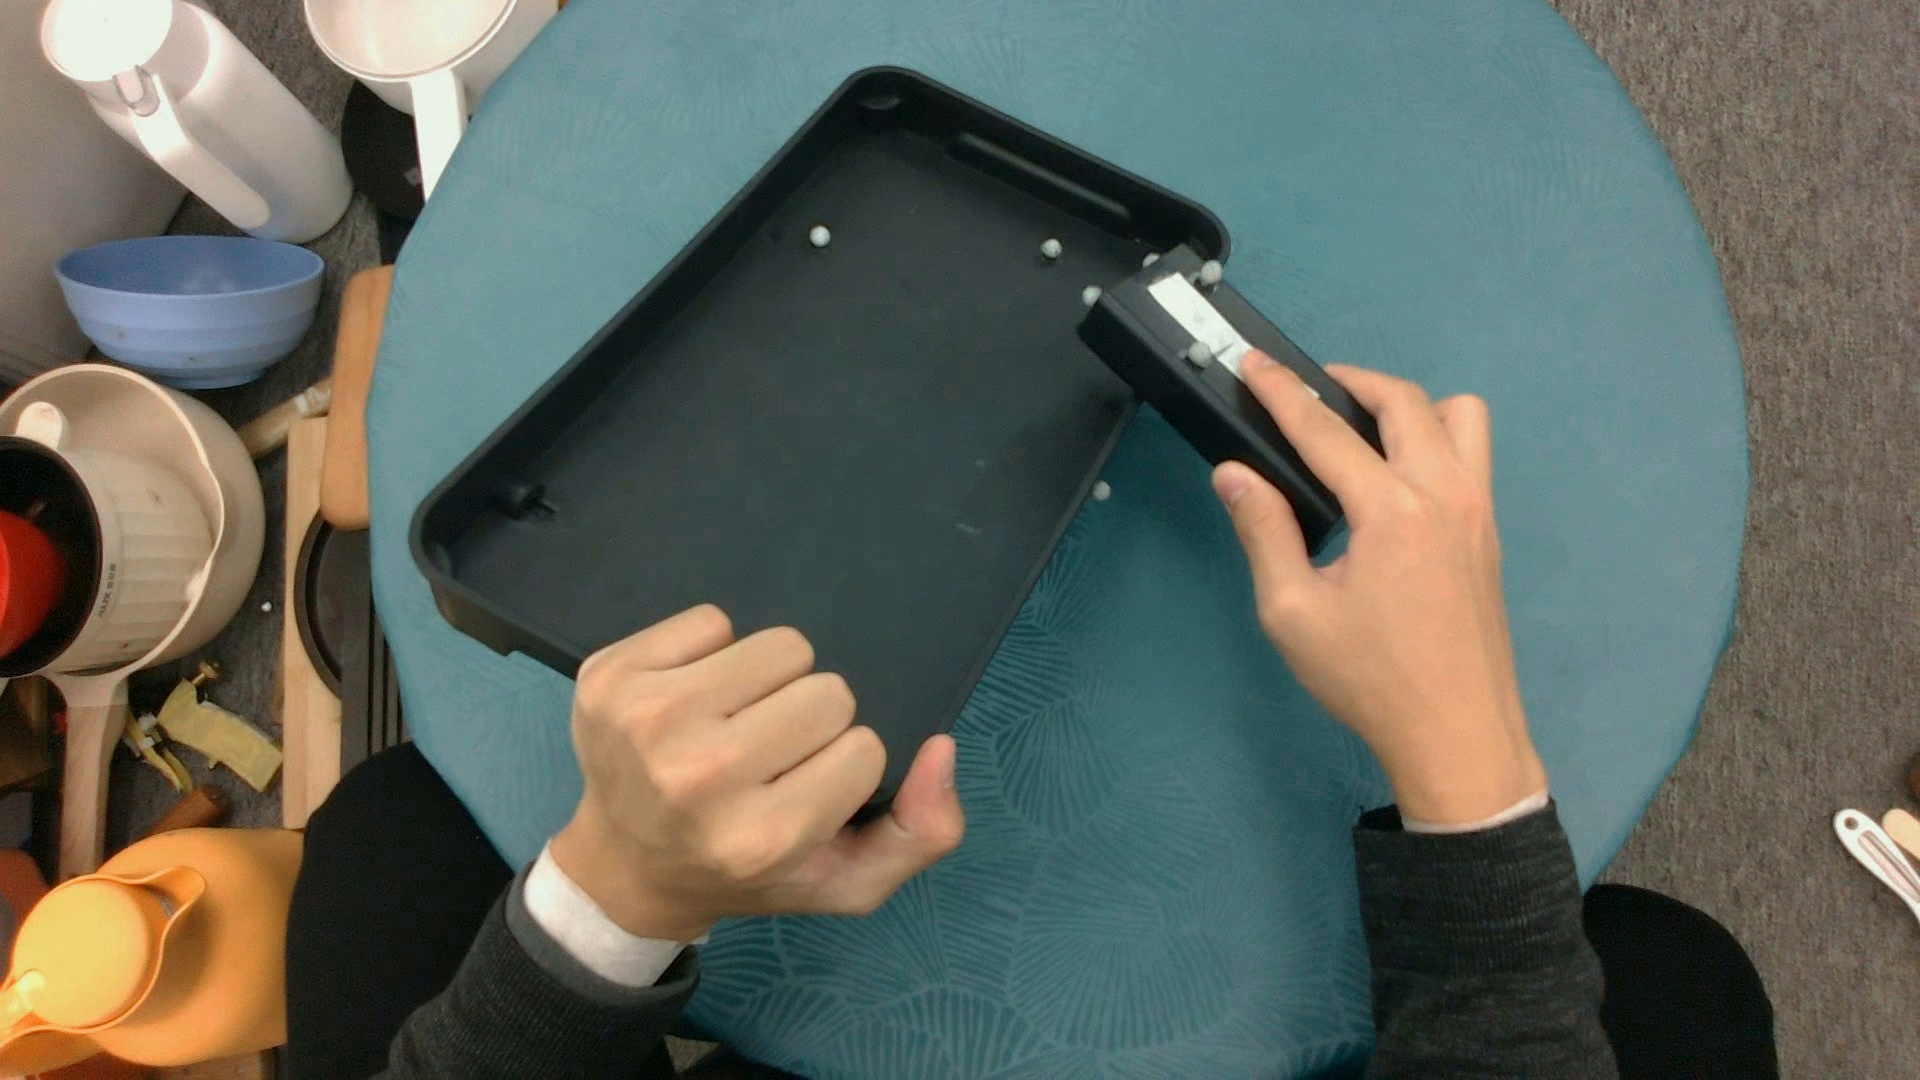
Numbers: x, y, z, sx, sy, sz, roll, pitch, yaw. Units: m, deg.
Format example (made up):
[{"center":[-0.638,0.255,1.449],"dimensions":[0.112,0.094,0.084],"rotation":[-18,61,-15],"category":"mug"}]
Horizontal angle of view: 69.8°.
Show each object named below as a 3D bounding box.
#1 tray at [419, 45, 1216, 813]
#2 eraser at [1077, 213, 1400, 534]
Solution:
[{"center":[-0.034,-0.065,0.525],"dimensions":[0.184,0.037,0.319],"rotation":[26,56,7],"category":"tray"},{"center":[0.103,-0.064,0.520],"dimensions":[0.054,0.030,0.125],"rotation":[-35,76,-27],"category":"eraser"}]
